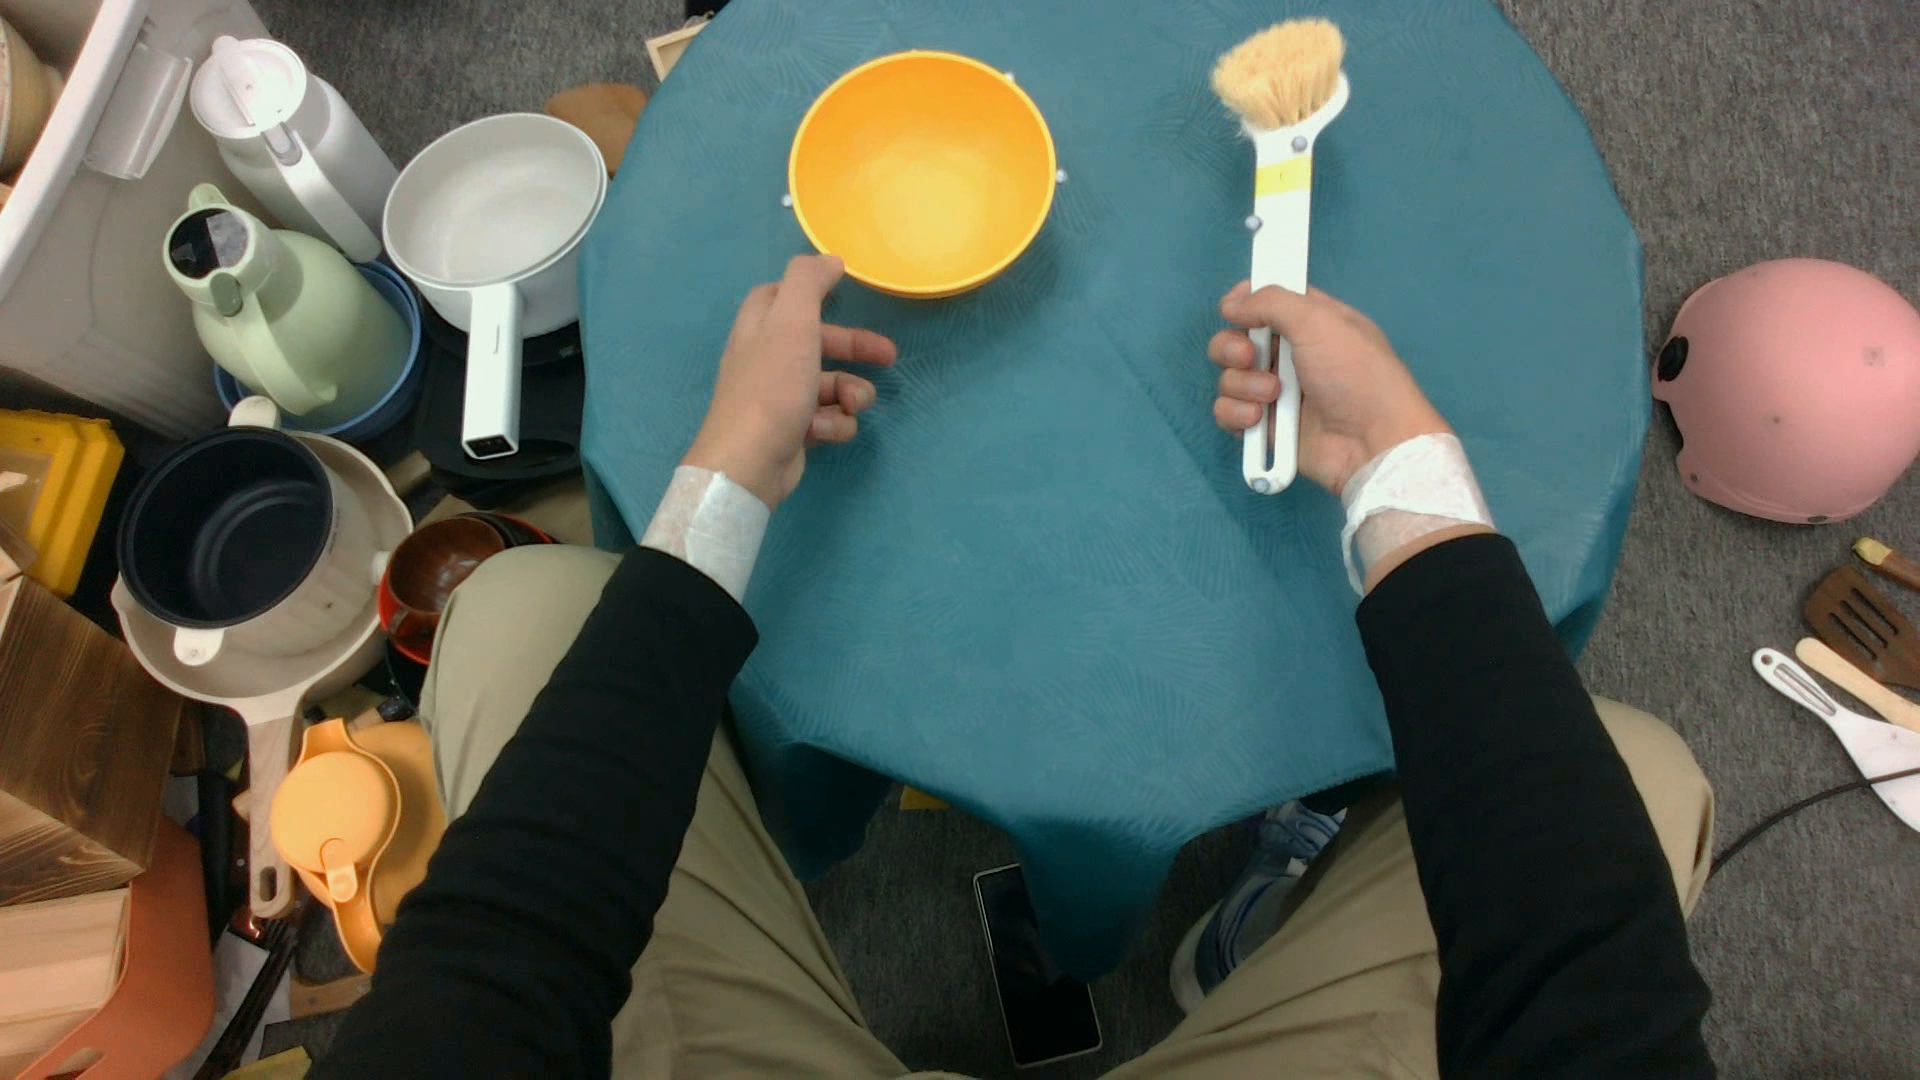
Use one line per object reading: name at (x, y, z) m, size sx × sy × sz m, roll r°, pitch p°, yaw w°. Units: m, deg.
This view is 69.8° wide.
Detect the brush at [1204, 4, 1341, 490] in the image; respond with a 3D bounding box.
brush at (0.158, -0.161, 0.721) m, size 0.068 × 0.056 × 0.267 m, roll -4°, pitch 71°, yaw 40°

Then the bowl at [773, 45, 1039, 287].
bowl at (-0.028, -0.199, 0.772) m, size 0.145 × 0.060 × 0.145 m, roll -1°, pitch 75°, yaw 2°
